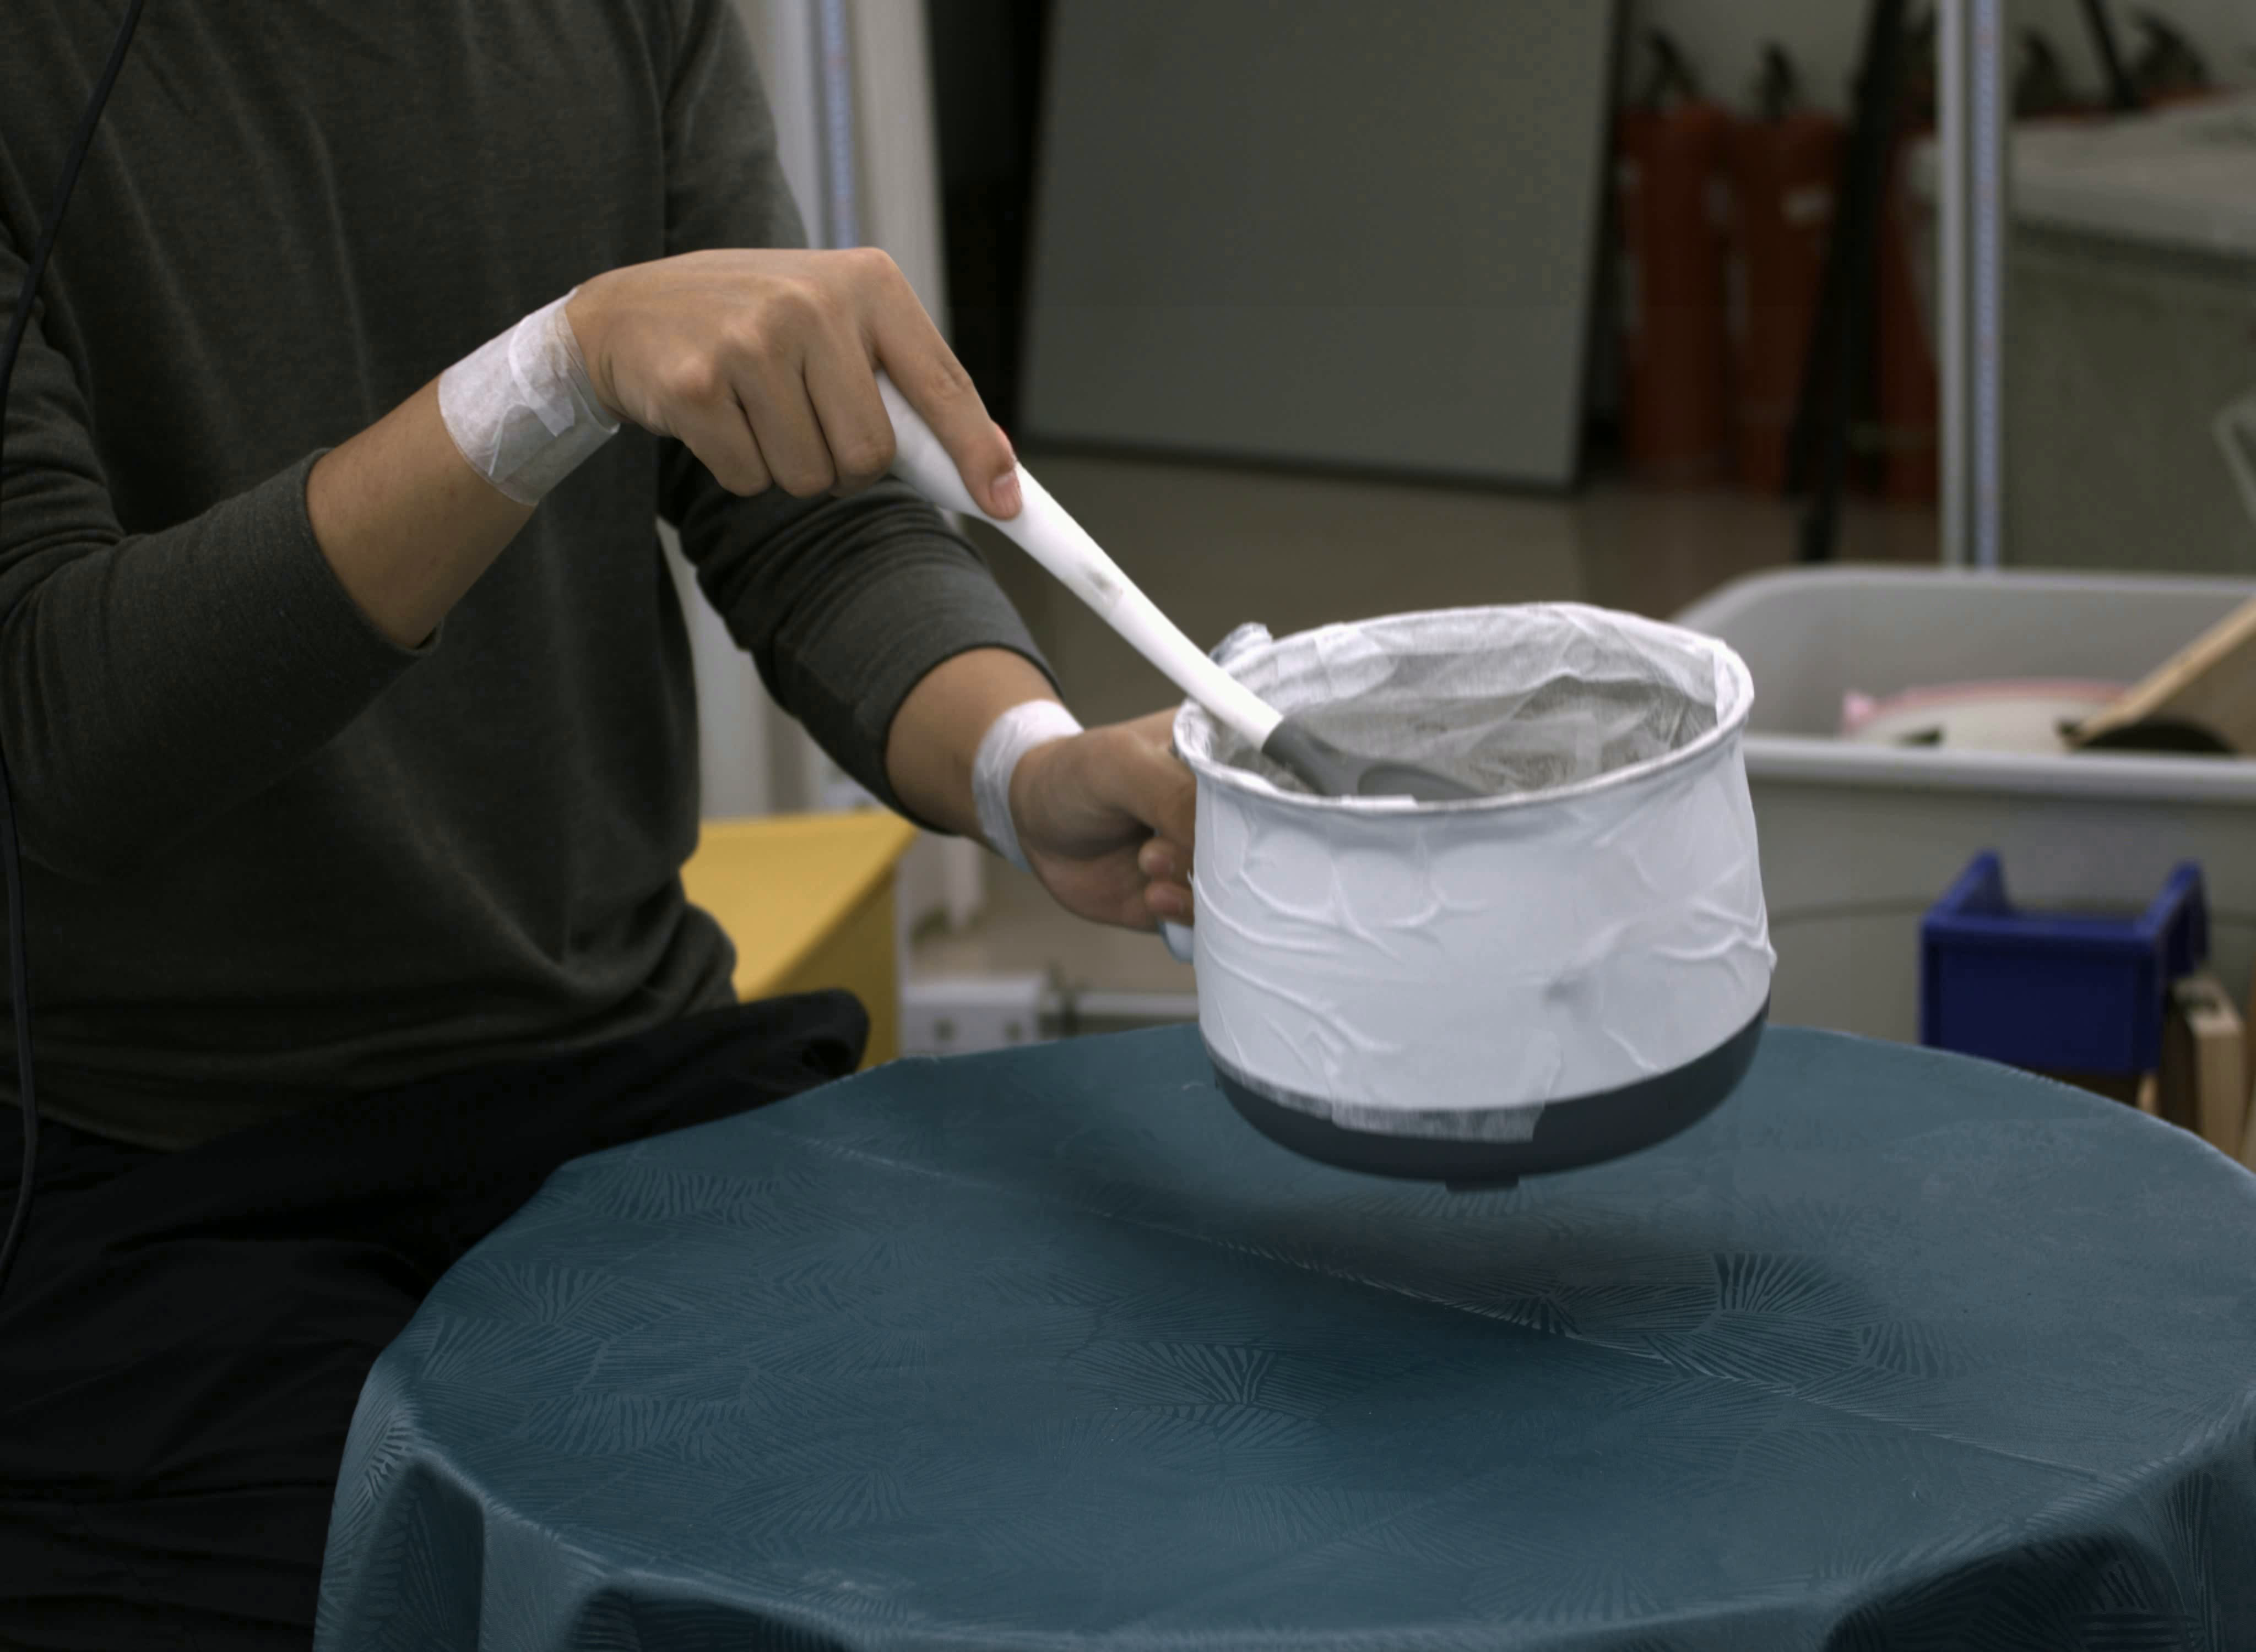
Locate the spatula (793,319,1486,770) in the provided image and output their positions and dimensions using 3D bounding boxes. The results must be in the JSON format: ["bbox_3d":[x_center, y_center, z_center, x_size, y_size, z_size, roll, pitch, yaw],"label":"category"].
[{"bbox_3d":[0.020,-0.061,1.643,0.288,0.032,0.058,36,33,10],"label":"spatula"}]

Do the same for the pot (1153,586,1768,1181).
[{"bbox_3d":[0.087,0.011,1.657,0.175,0.138,0.236,-20,24,-36],"label":"pot"}]
